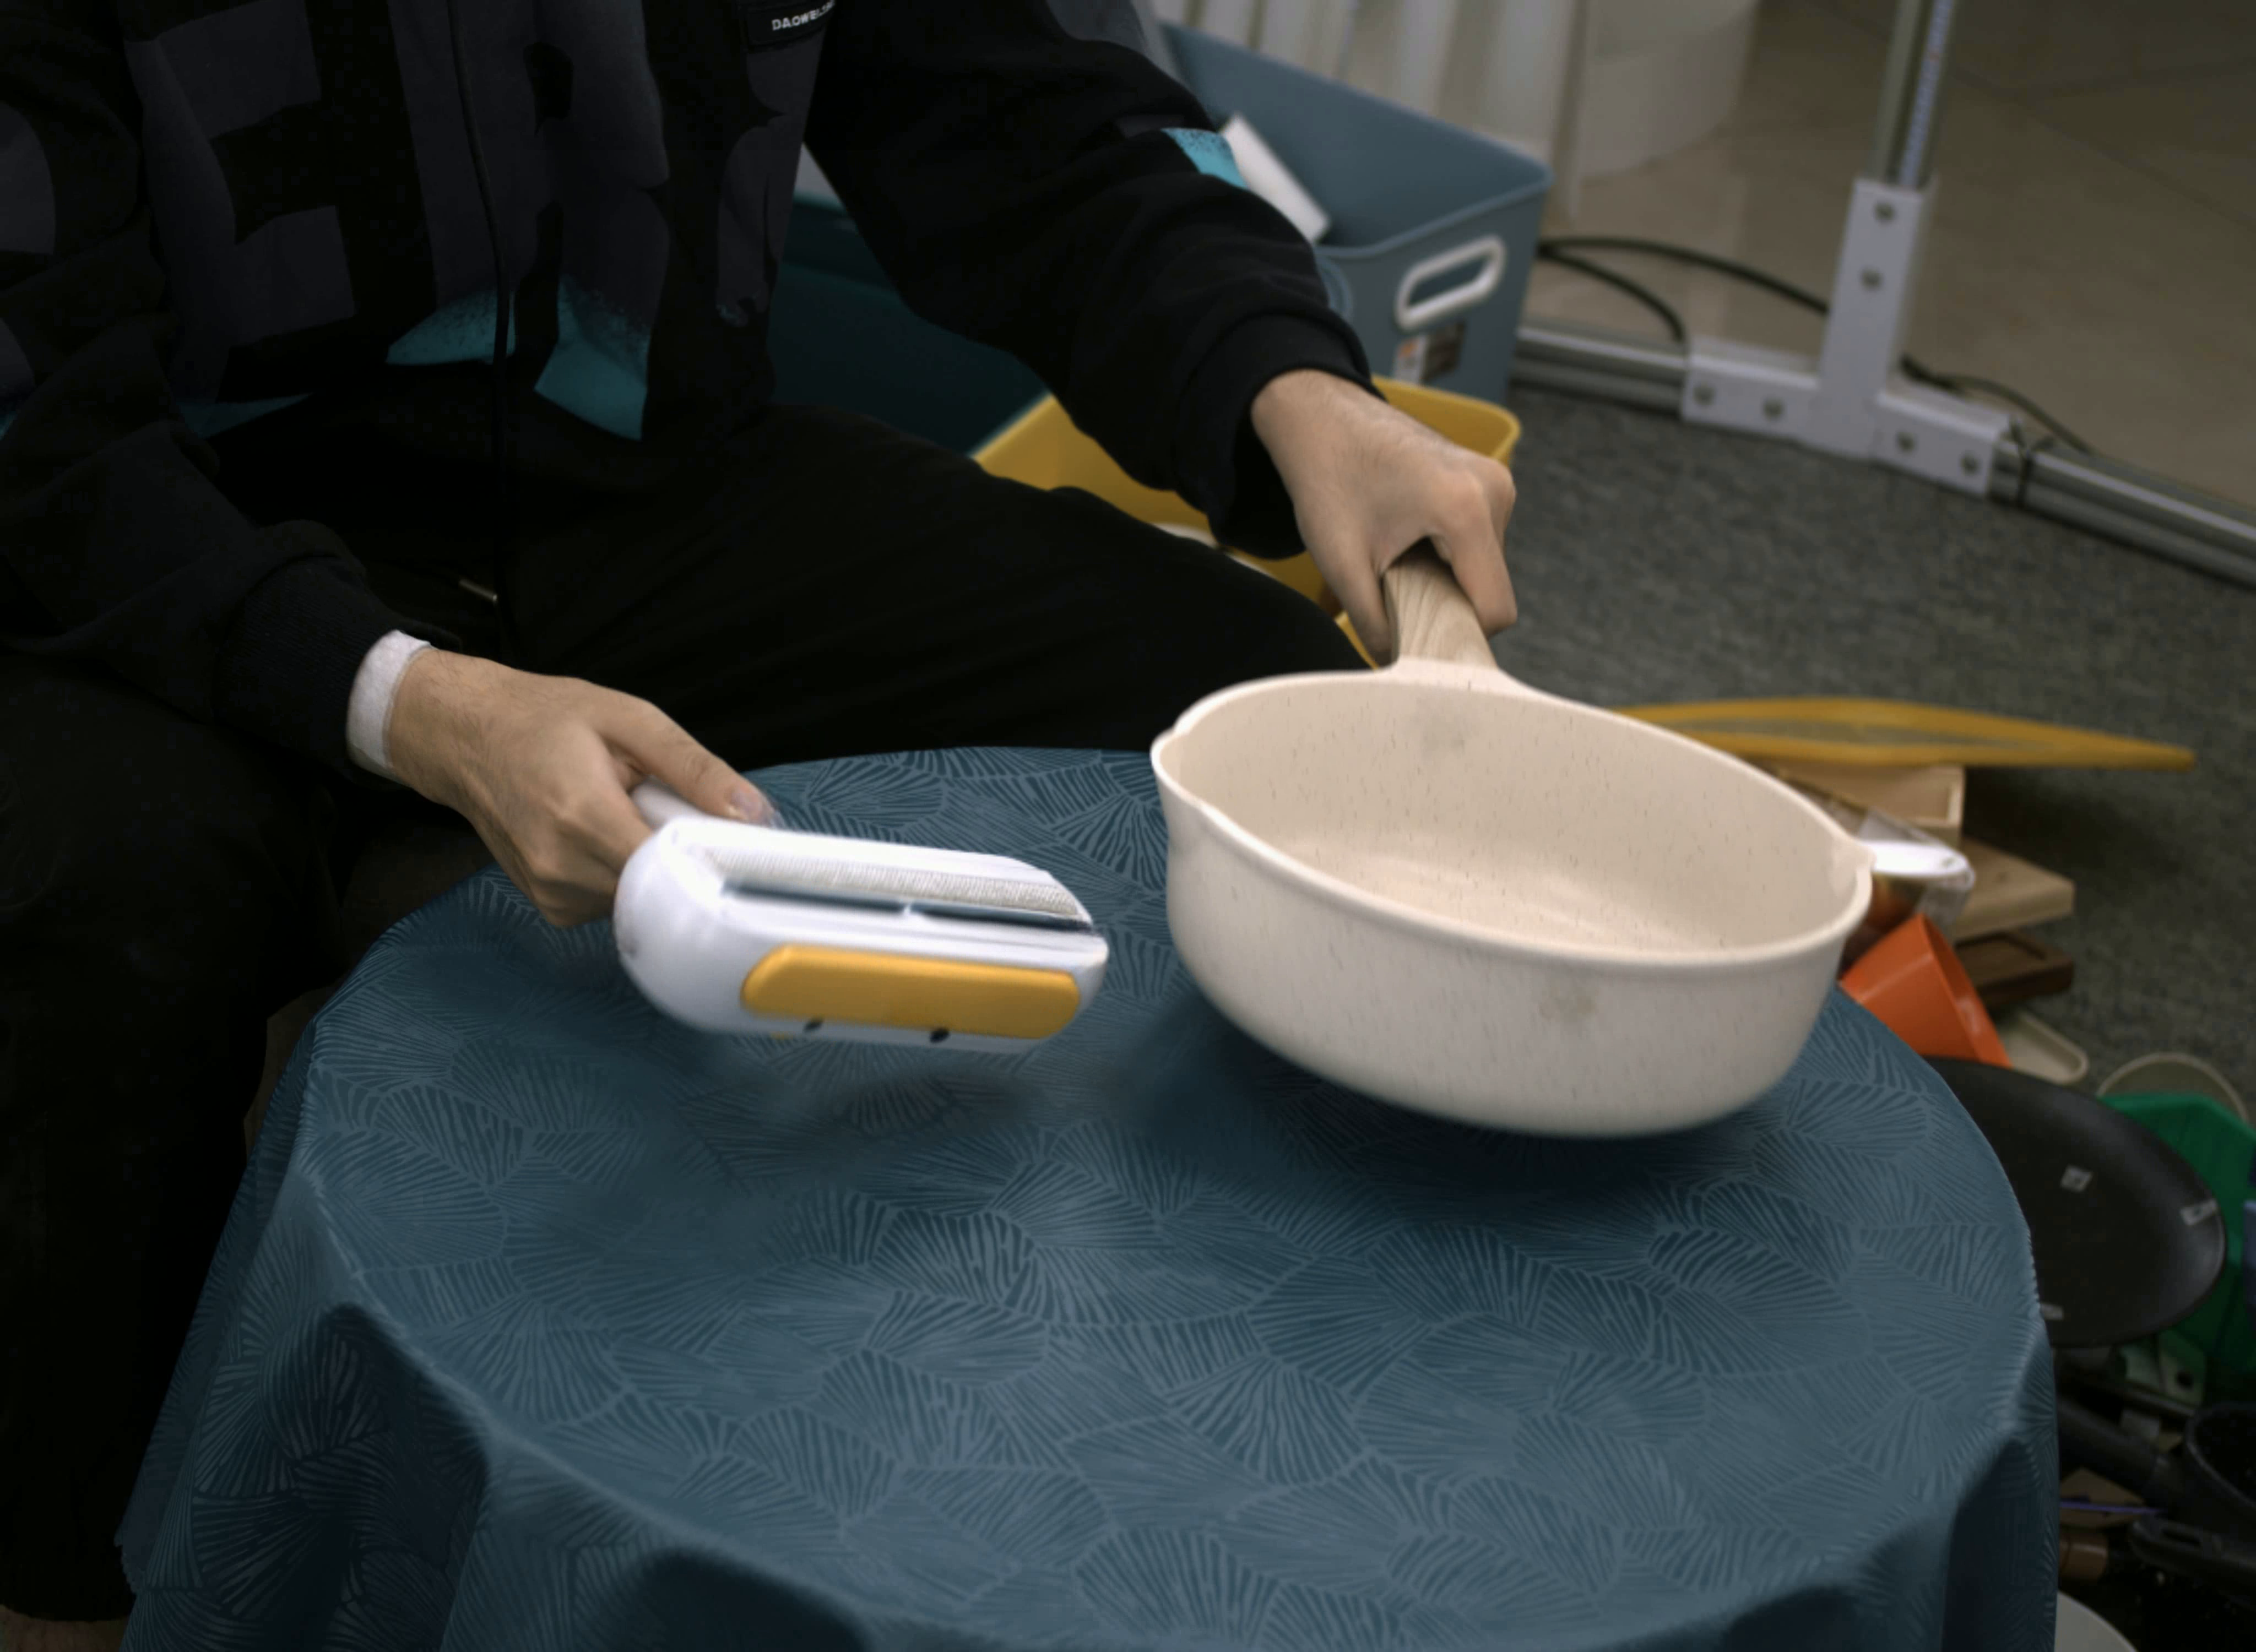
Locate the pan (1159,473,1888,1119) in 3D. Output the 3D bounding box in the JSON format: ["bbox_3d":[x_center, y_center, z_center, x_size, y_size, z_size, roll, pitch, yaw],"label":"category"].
[{"bbox_3d":[0.124,-0.014,1.954,0.262,0.102,0.437,5,21,-9],"label":"pan"}]

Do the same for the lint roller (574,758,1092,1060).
[{"bbox_3d":[-0.128,0.013,1.825,0.191,0.074,0.194,7,24,-39],"label":"lint roller"}]
